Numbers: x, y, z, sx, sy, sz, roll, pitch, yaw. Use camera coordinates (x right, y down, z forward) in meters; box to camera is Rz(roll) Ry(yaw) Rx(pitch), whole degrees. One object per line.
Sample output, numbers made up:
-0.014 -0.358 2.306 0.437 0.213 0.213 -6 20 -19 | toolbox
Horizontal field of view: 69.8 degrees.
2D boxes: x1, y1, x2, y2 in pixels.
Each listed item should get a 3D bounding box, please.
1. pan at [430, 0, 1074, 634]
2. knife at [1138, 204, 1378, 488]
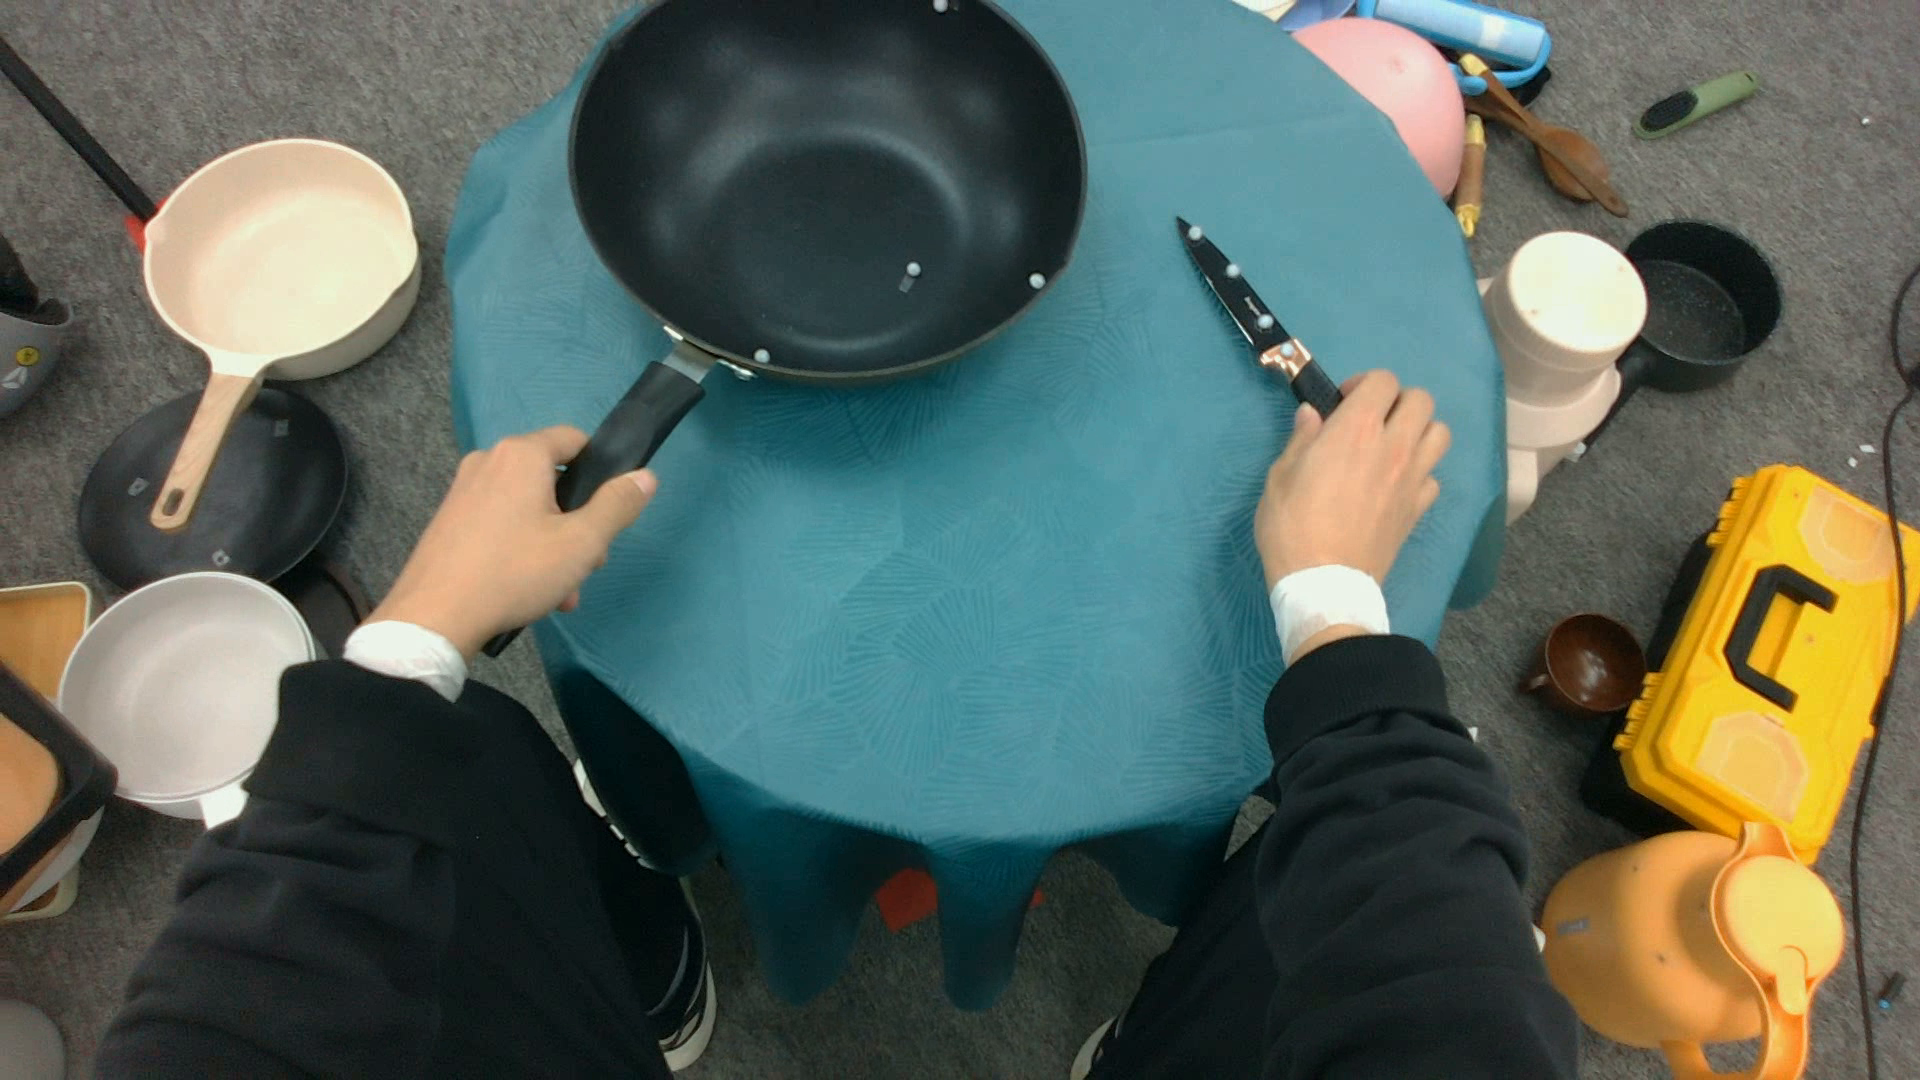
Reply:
-0.123 -0.133 0.754 0.288 0.086 0.465 28 70 7 | pan
0.170 -0.119 0.803 0.026 0.017 0.226 -32 68 1 | knife
